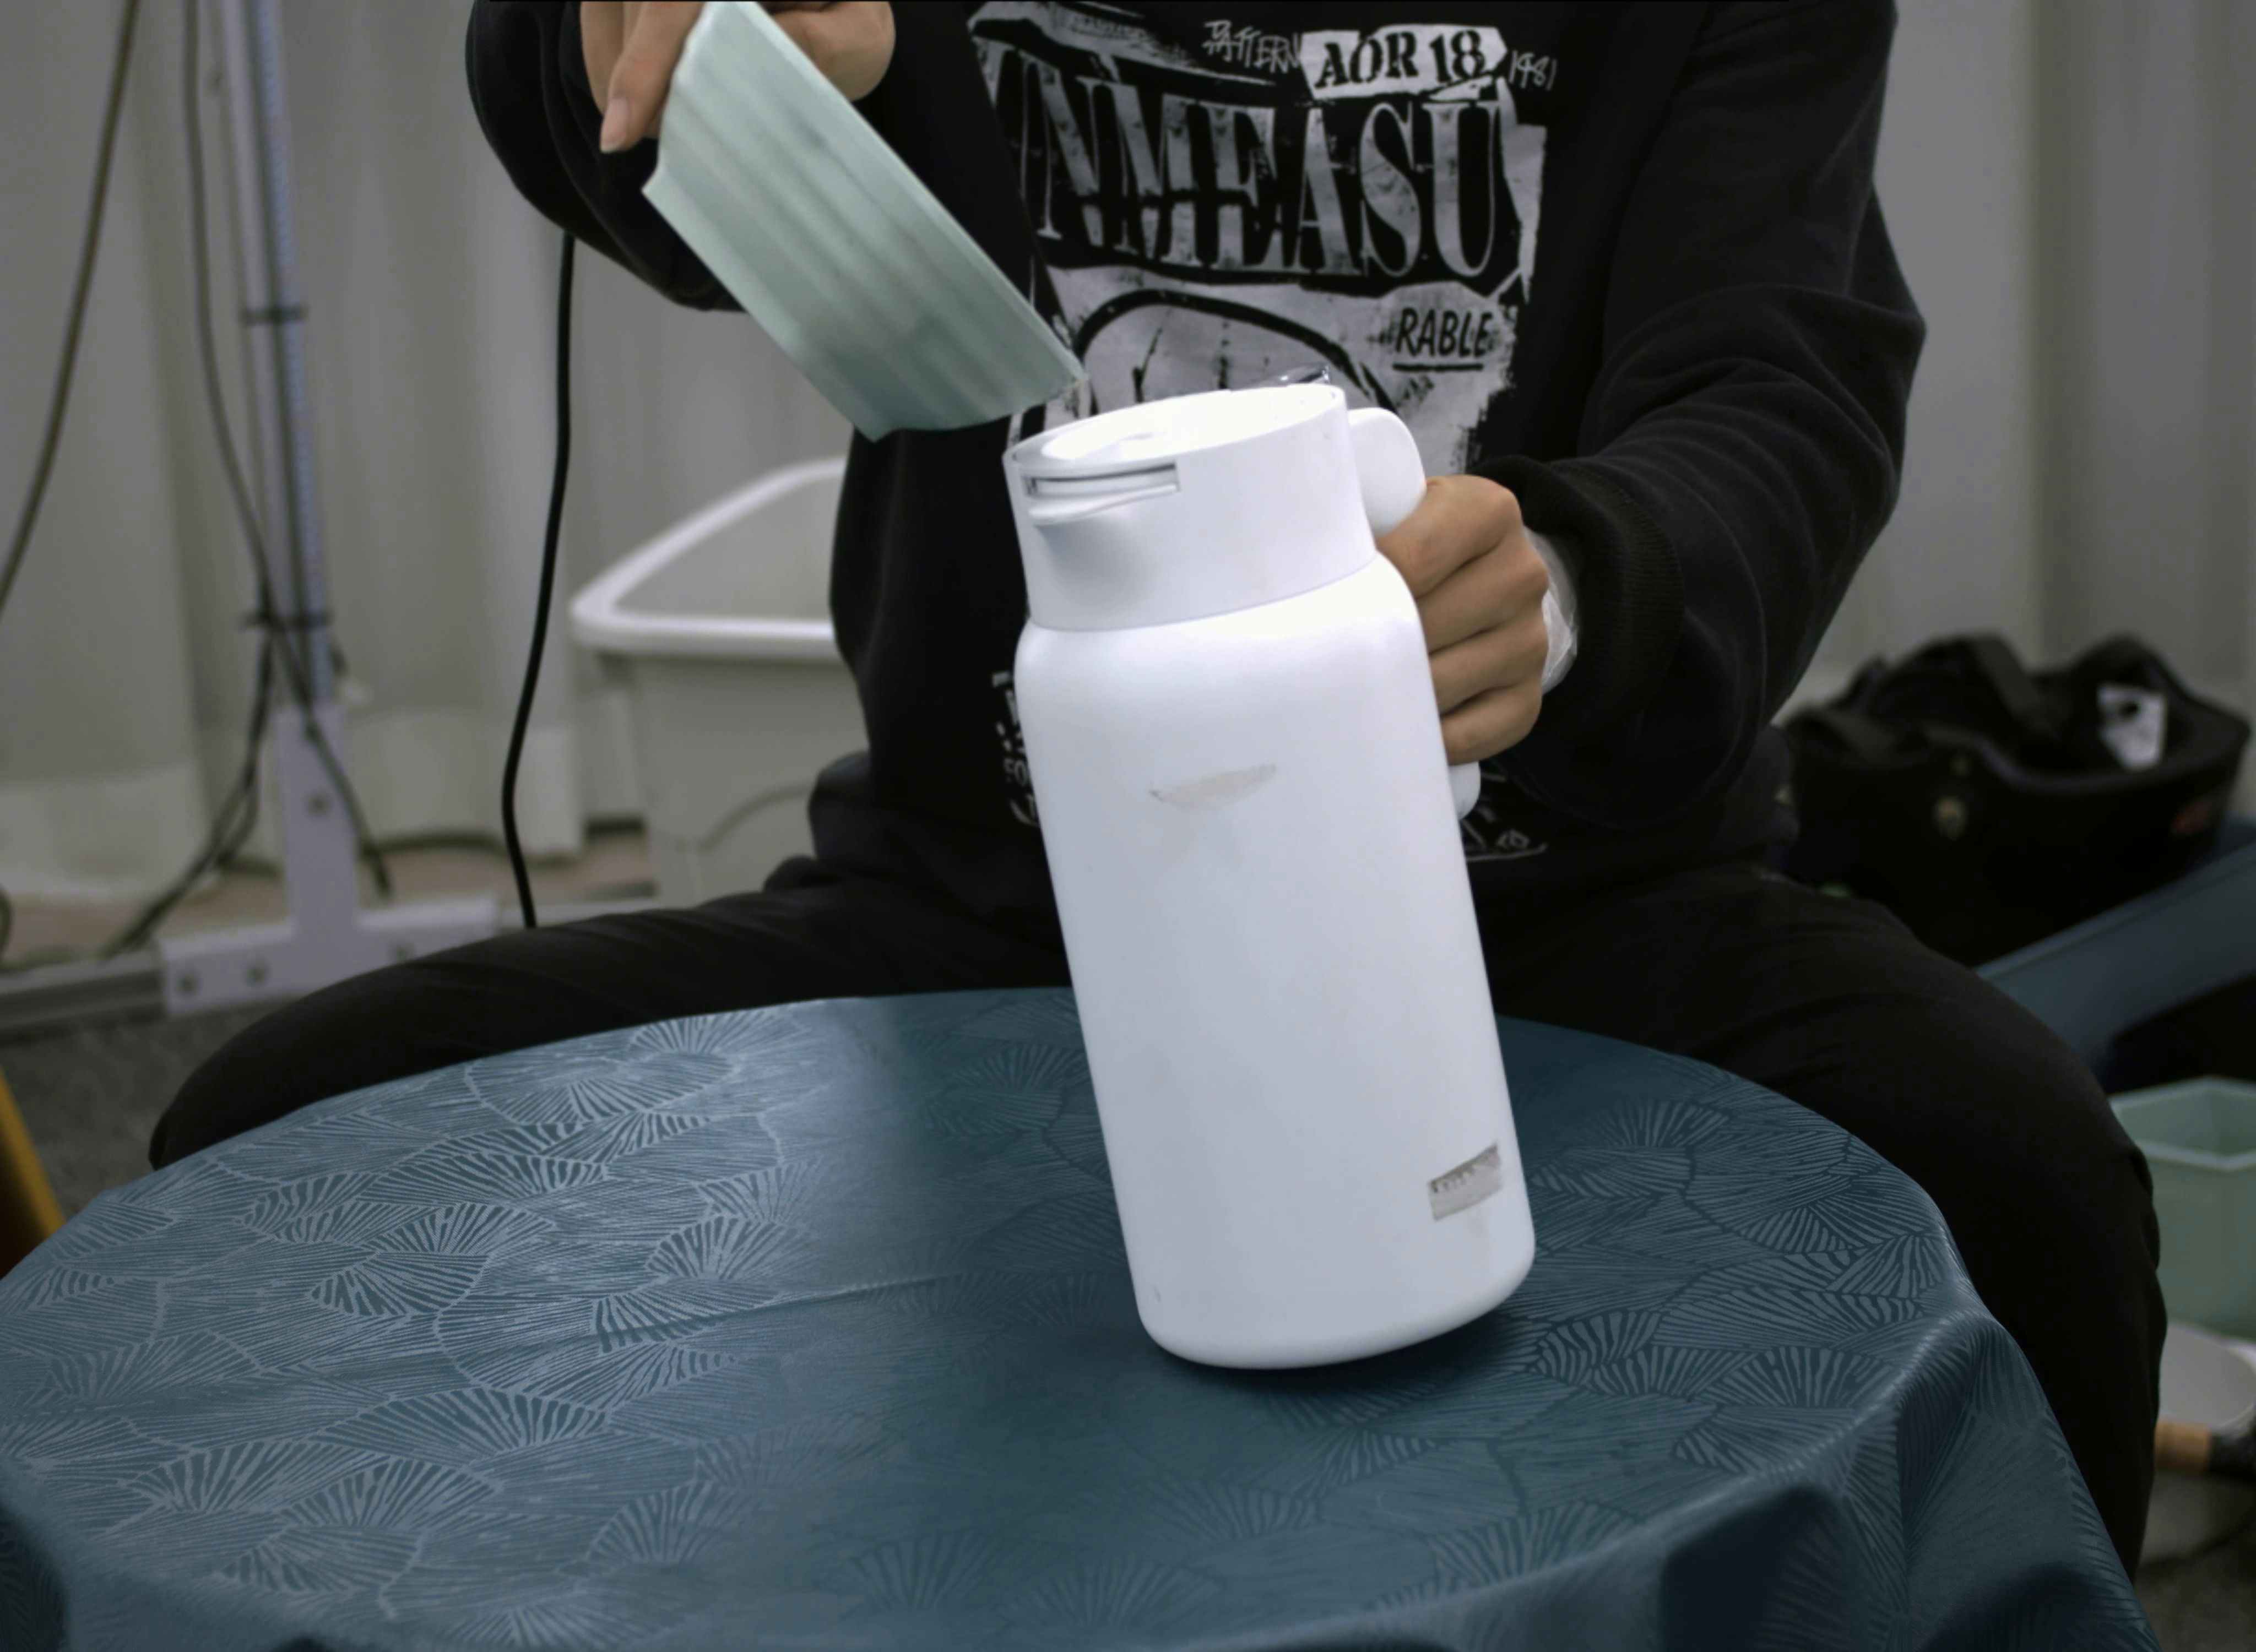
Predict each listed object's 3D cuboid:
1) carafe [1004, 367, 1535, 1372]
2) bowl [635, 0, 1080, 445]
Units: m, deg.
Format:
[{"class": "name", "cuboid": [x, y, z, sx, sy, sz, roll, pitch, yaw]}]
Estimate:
[{"class": "carafe", "cuboid": [0.045, 0.008, 1.571, 0.124, 0.268, 0.173, -6, 12, 34]}, {"class": "bowl", "cuboid": [-0.083, -0.158, 1.507, 0.058, 0.150, 0.152, -42, 18, 1]}]
